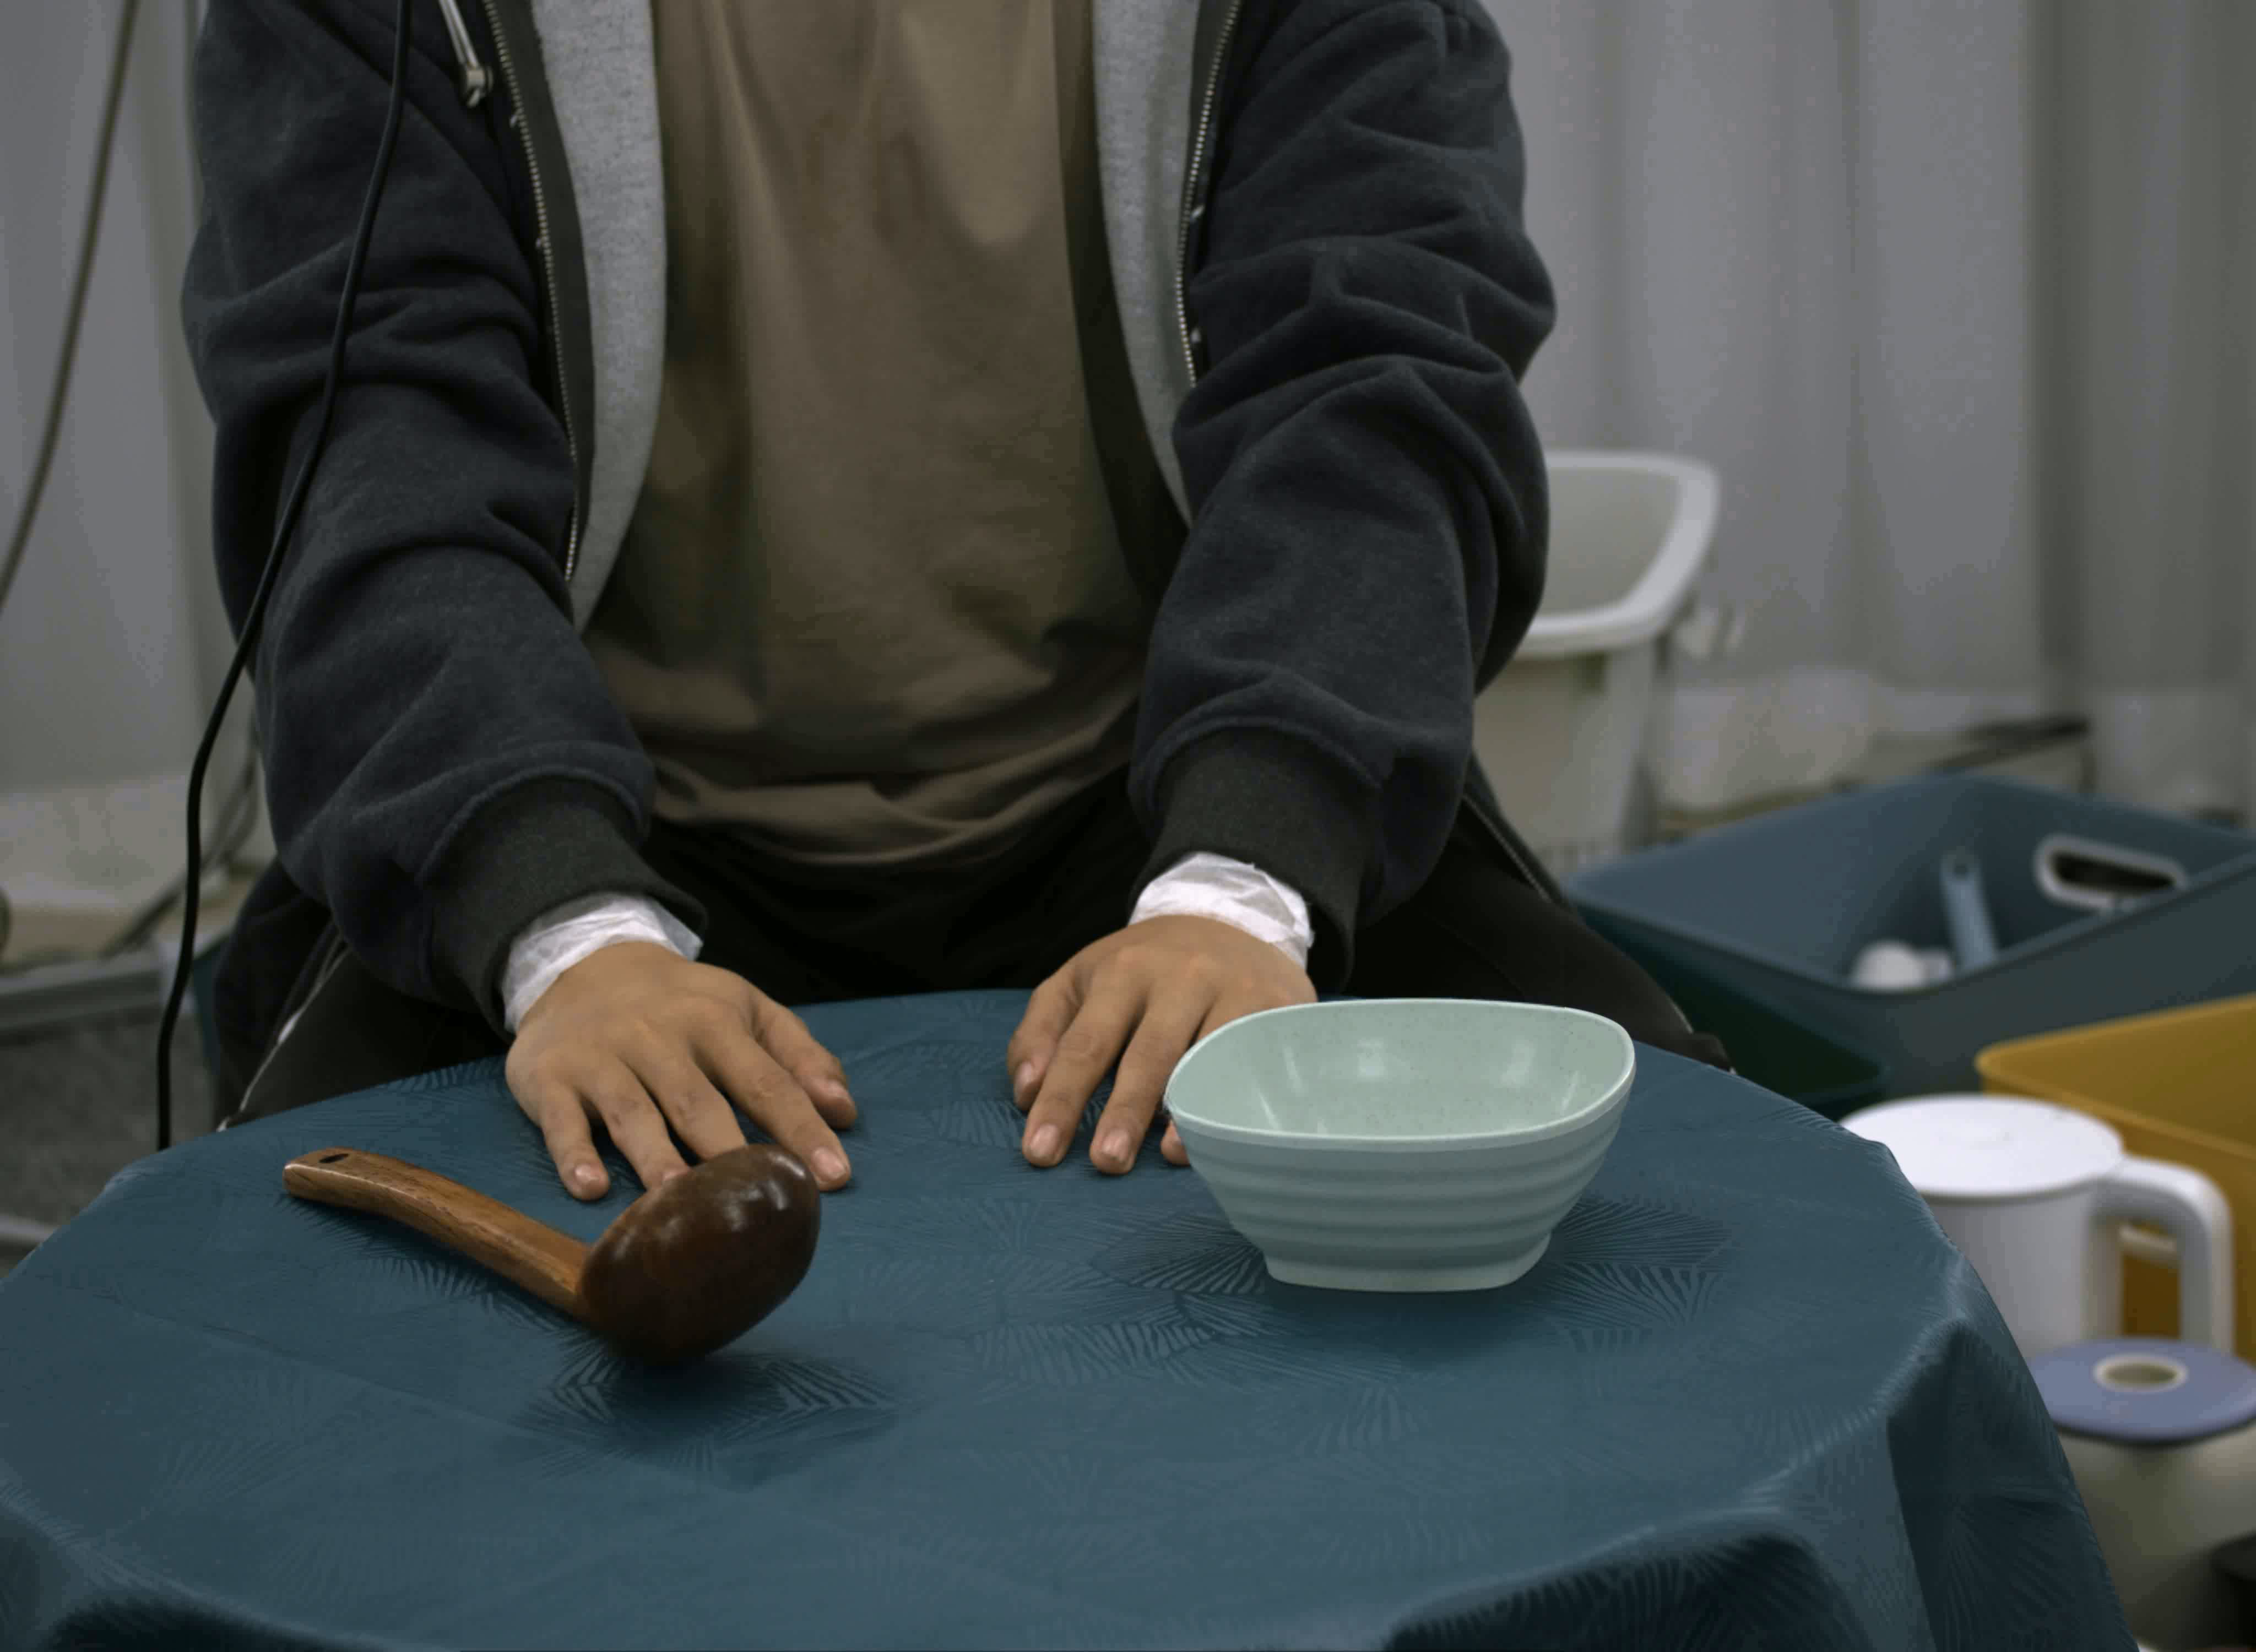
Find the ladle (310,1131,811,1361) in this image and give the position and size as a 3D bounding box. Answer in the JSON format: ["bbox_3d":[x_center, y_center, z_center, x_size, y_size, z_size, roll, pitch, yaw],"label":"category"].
[{"bbox_3d":[-0.186,0.103,1.646,0.082,0.076,0.276,-17,20,-31],"label":"ladle"}]

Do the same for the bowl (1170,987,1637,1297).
[{"bbox_3d":[0.084,0.099,1.647,0.151,0.058,0.152,-4,17,1],"label":"bowl"}]
